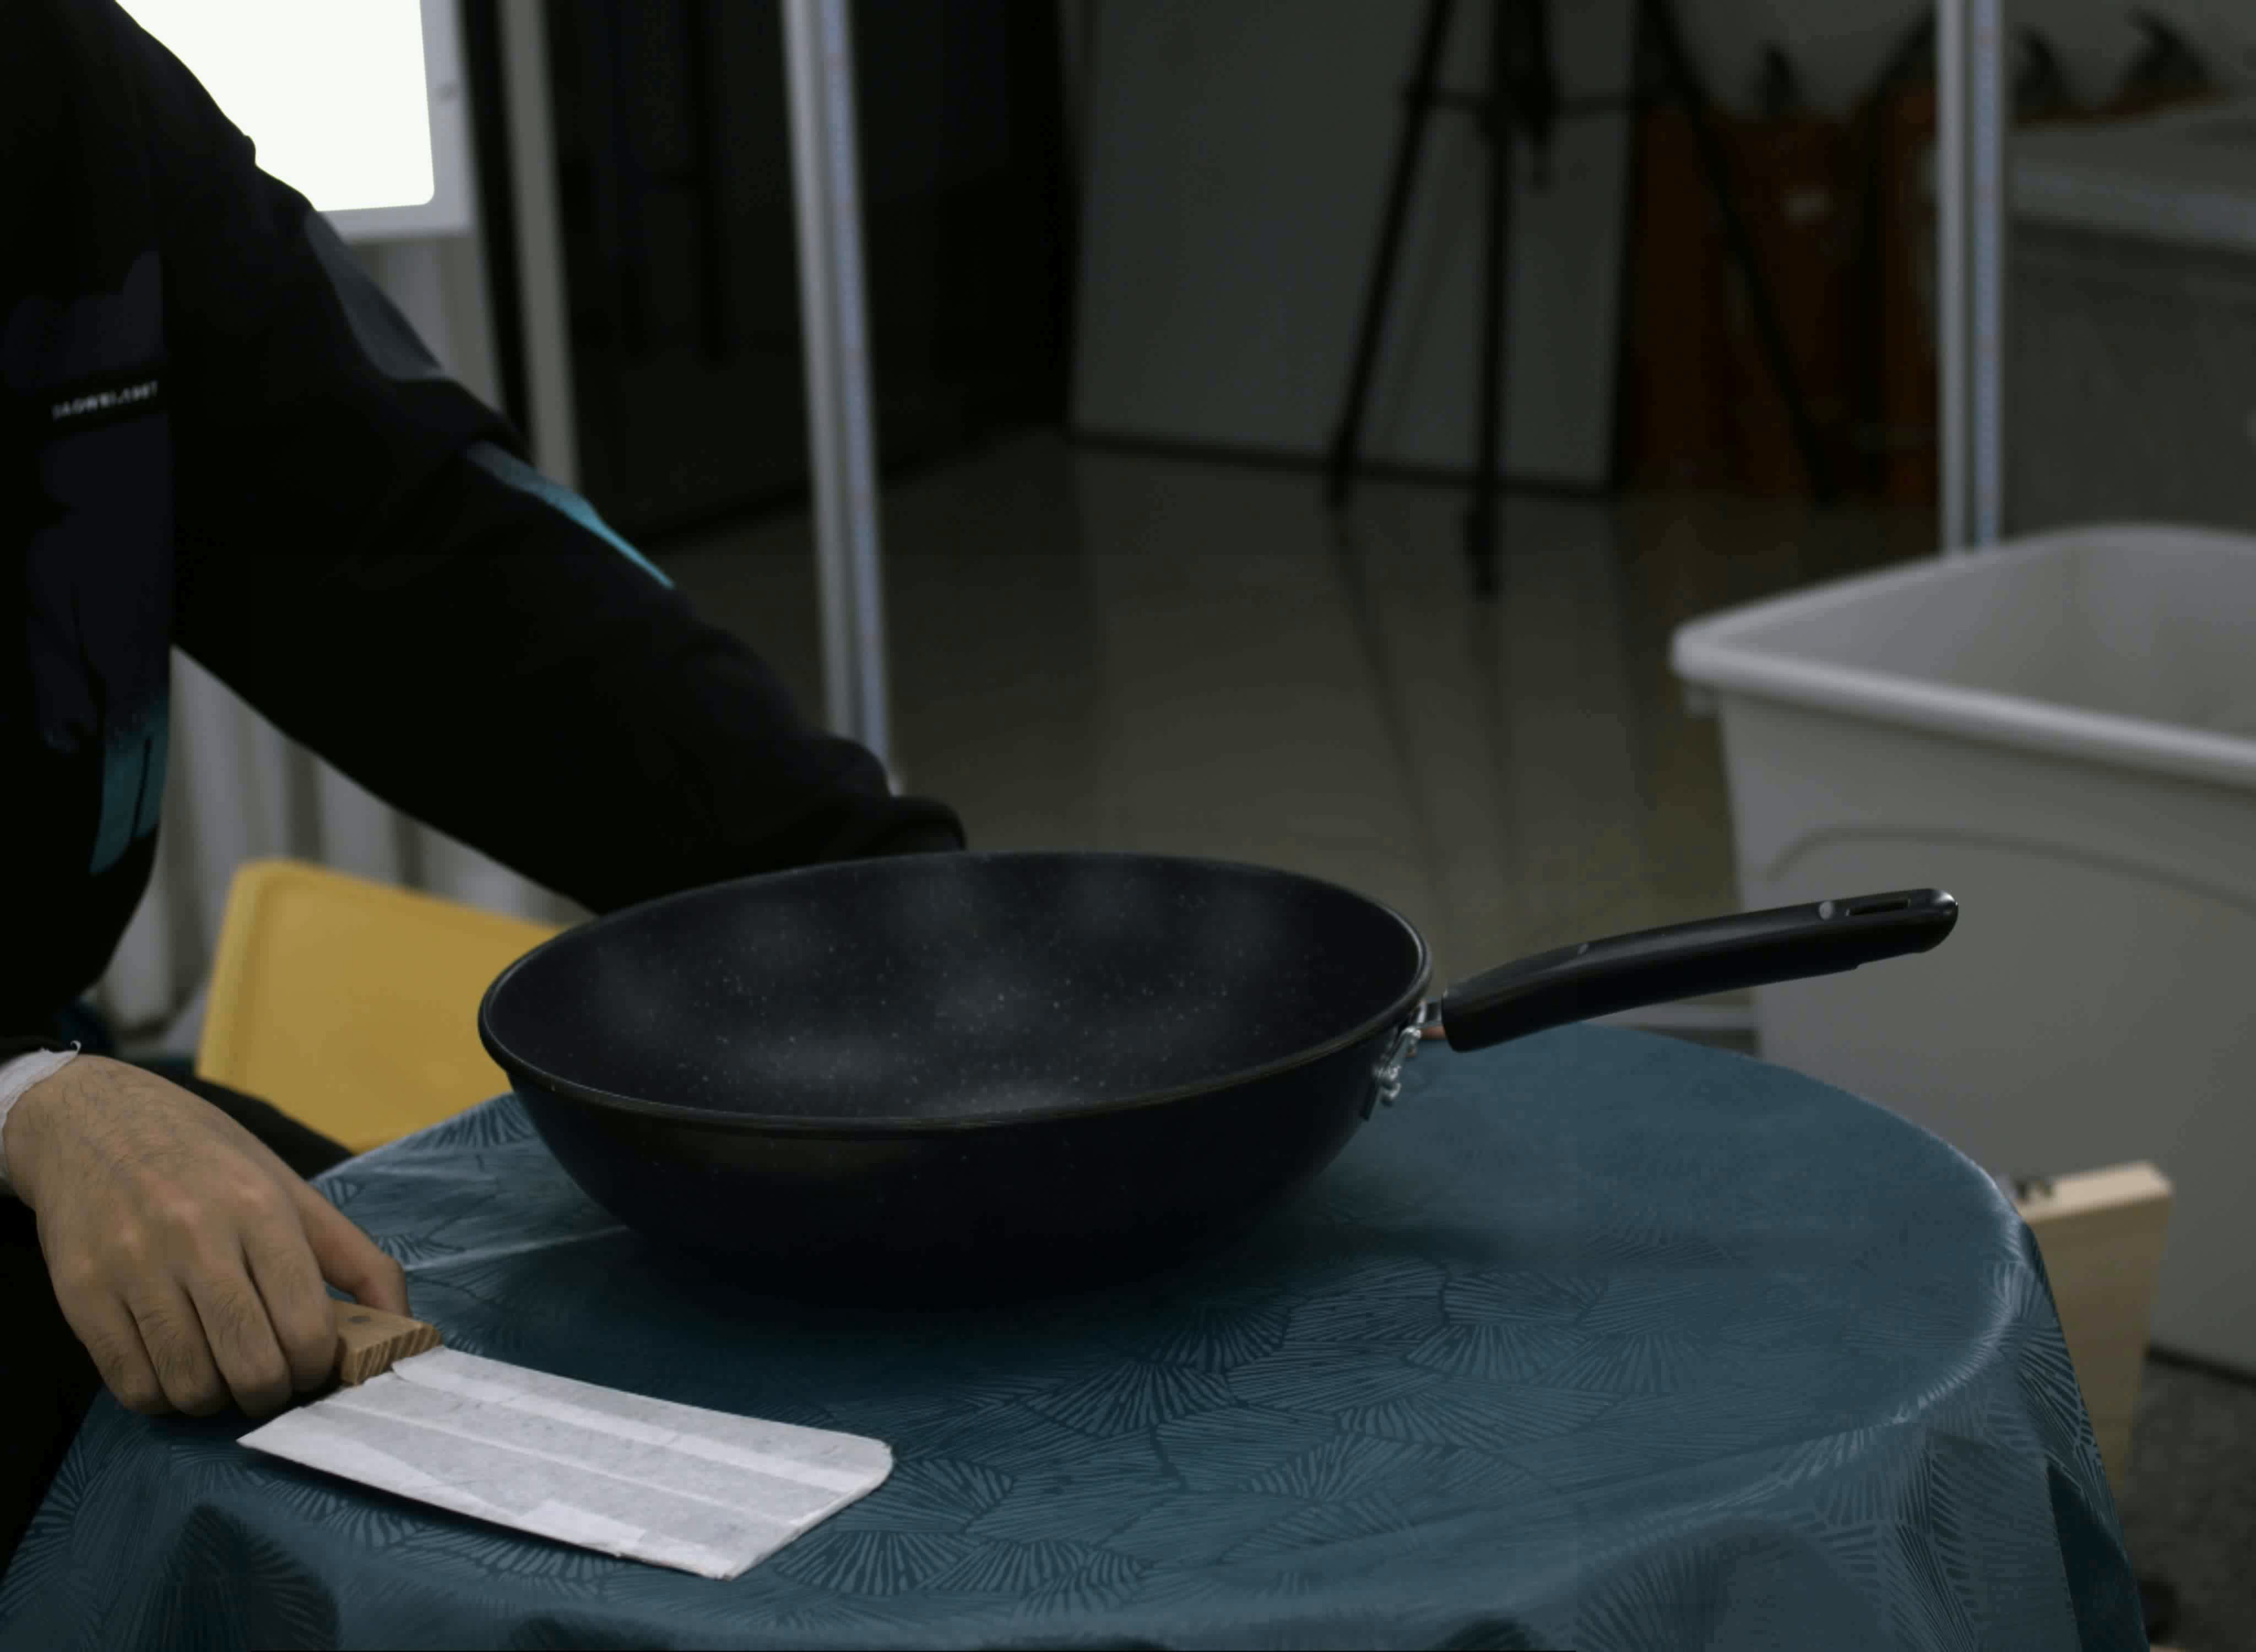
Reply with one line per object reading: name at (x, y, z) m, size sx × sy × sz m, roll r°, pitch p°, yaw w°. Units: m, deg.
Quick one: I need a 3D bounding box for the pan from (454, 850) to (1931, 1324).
pan at (0.020, 0.078, 1.717) m, size 0.474 × 0.113 × 0.308 m, roll -1°, pitch 16°, yaw 14°

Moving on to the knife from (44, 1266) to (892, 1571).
knife at (-0.203, 0.171, 1.591) m, size 0.318 × 0.022 × 0.112 m, roll 10°, pitch 20°, yaw 38°
